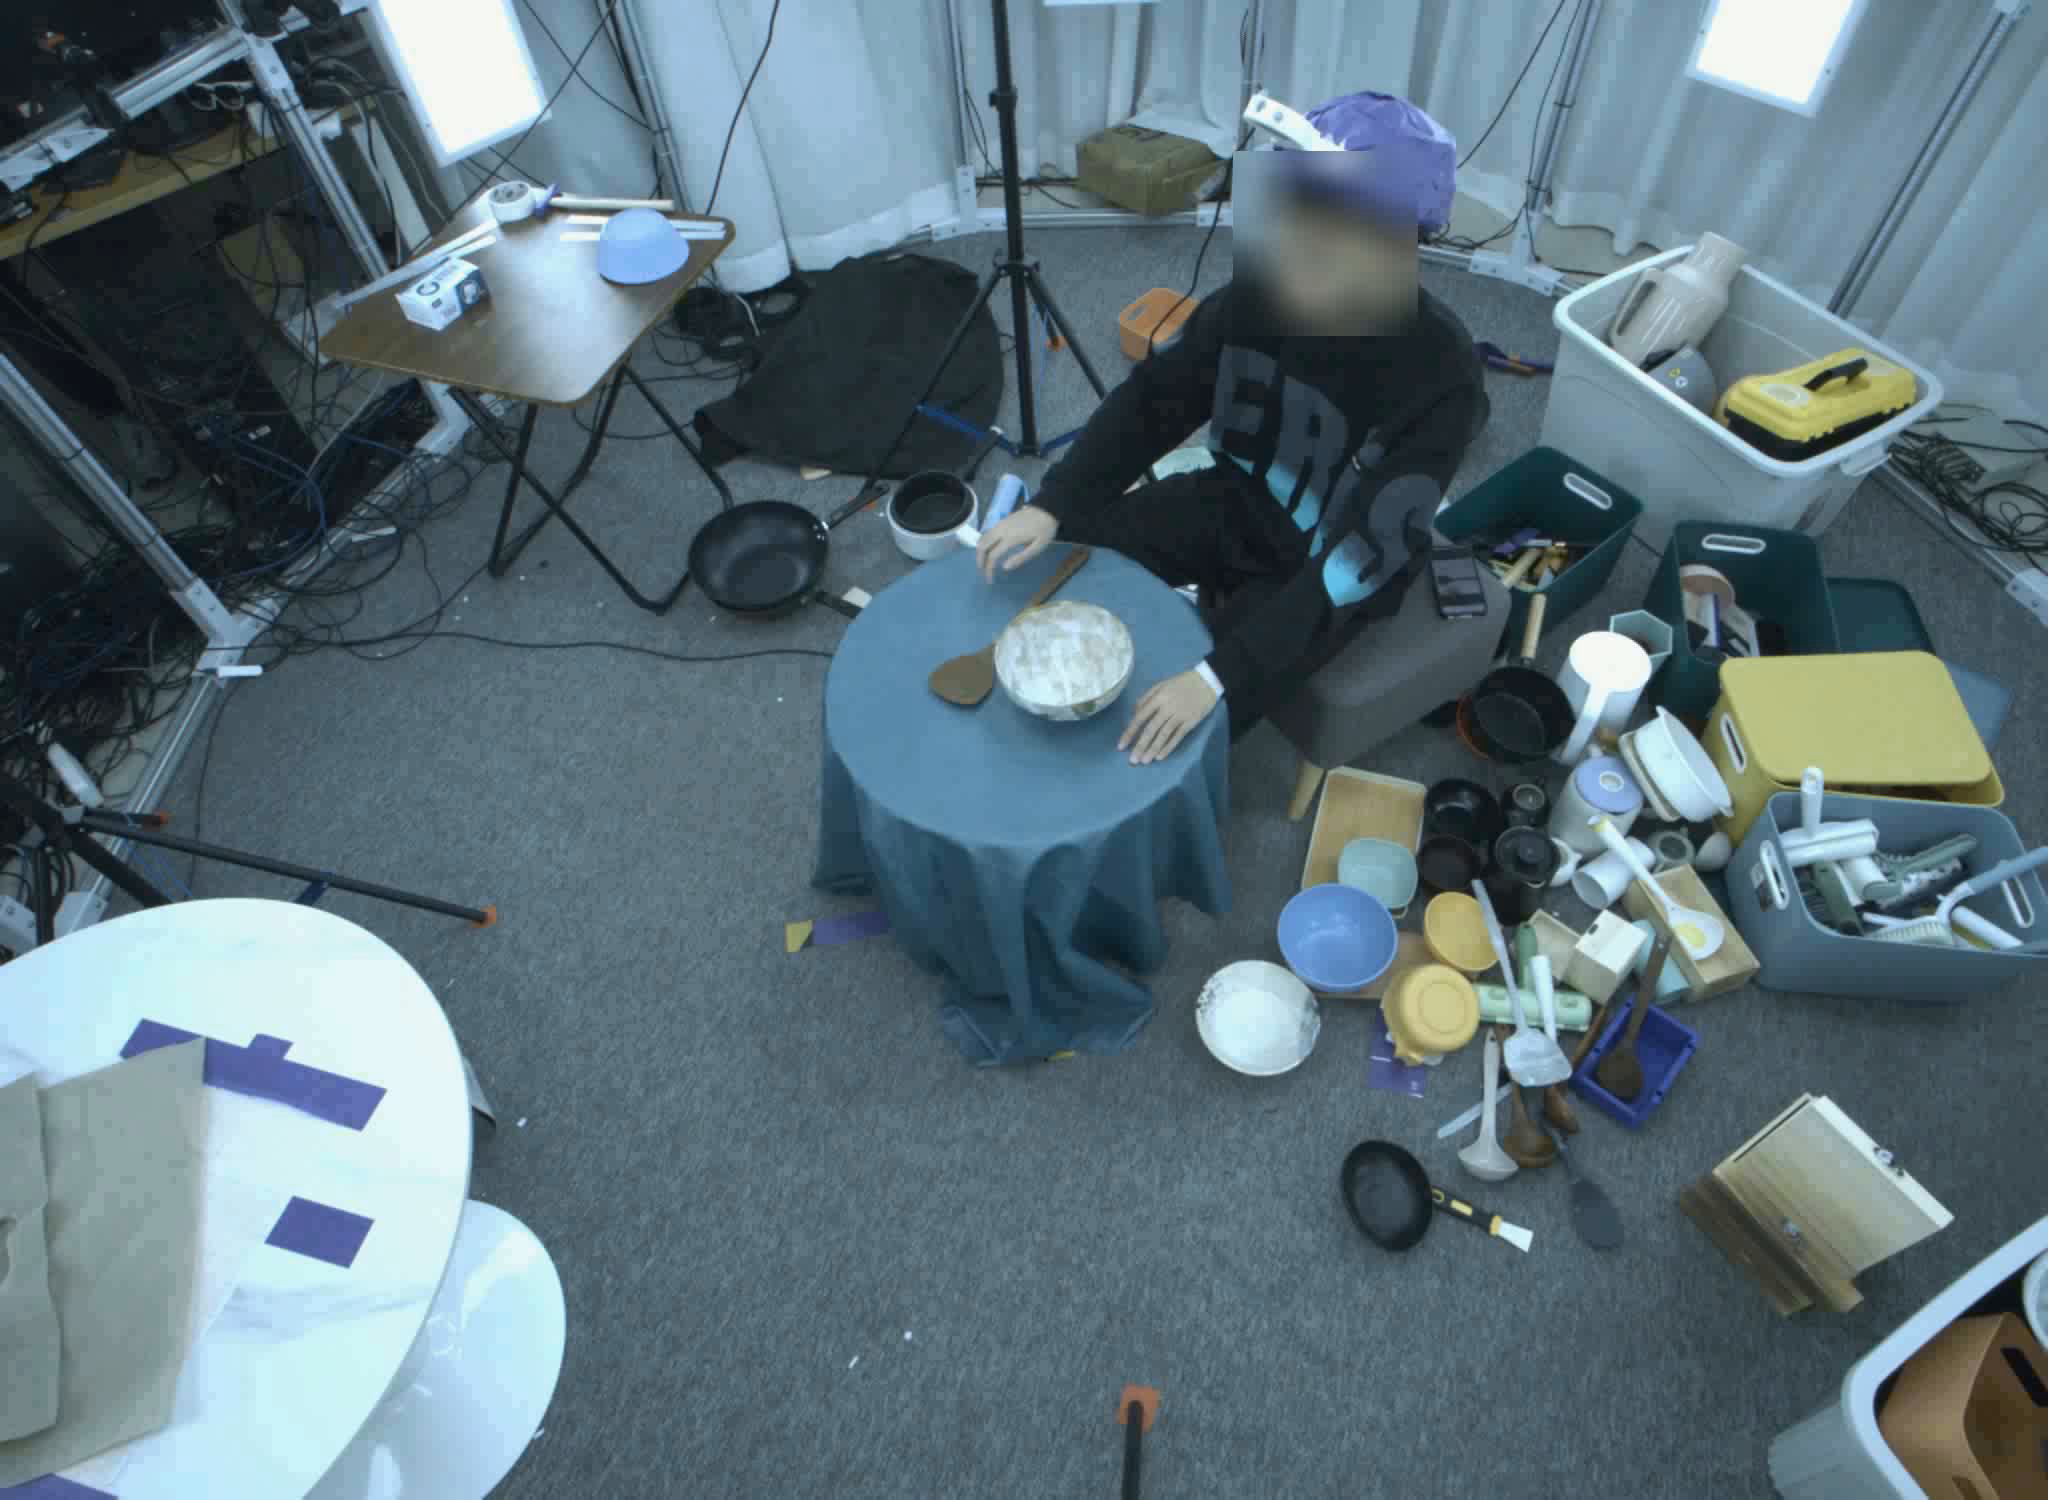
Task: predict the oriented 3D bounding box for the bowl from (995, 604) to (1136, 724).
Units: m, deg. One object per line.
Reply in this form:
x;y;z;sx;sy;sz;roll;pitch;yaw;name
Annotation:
0.066;-0.112;1.816;0.214;0.095;0.212;-1;54;3;bowl

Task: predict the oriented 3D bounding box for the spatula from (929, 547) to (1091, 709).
-0.006;-0.203;1.932;0.094;0.016;0.387;29;61;20;spatula
